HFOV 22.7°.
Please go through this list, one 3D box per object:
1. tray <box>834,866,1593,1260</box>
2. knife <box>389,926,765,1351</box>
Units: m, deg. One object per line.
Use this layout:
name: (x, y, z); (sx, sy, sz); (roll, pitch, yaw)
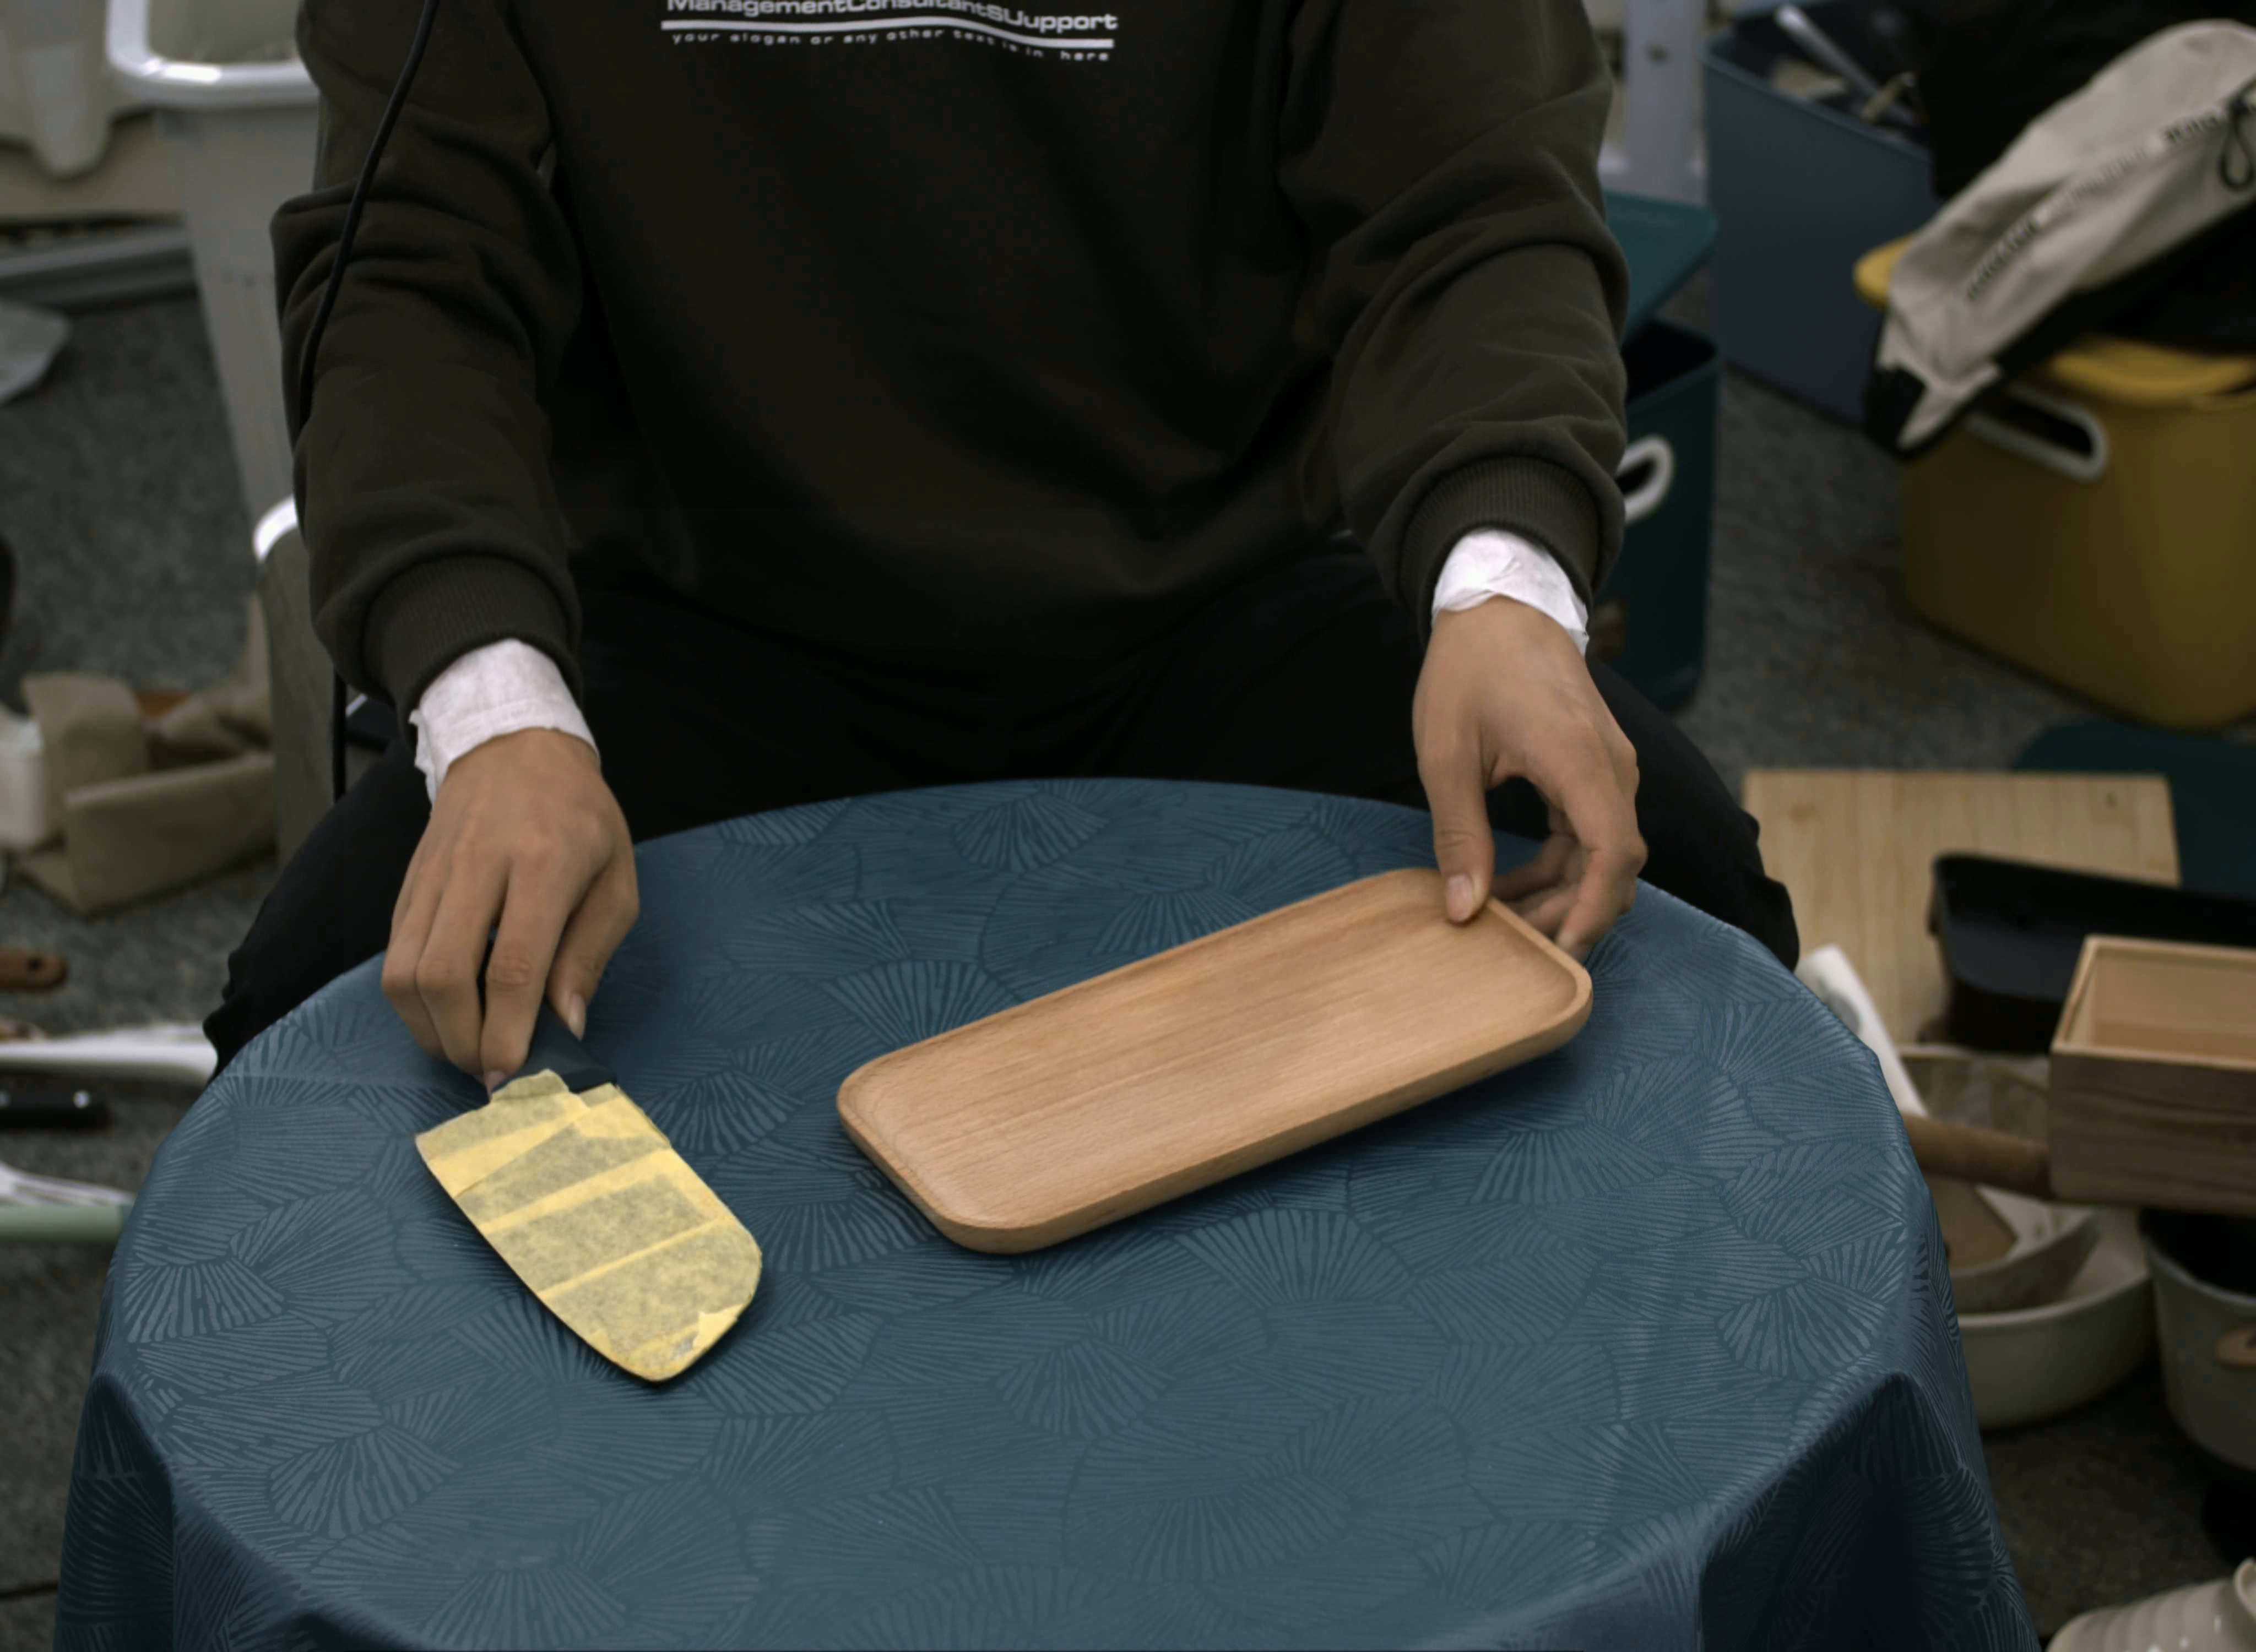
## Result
tray: (0.030, 0.079, 1.906); (0.252, 0.022, 0.131); (-20, 29, -22)
knife: (-0.199, 0.105, 1.885); (0.081, 0.027, 0.291); (-17, 31, -21)
